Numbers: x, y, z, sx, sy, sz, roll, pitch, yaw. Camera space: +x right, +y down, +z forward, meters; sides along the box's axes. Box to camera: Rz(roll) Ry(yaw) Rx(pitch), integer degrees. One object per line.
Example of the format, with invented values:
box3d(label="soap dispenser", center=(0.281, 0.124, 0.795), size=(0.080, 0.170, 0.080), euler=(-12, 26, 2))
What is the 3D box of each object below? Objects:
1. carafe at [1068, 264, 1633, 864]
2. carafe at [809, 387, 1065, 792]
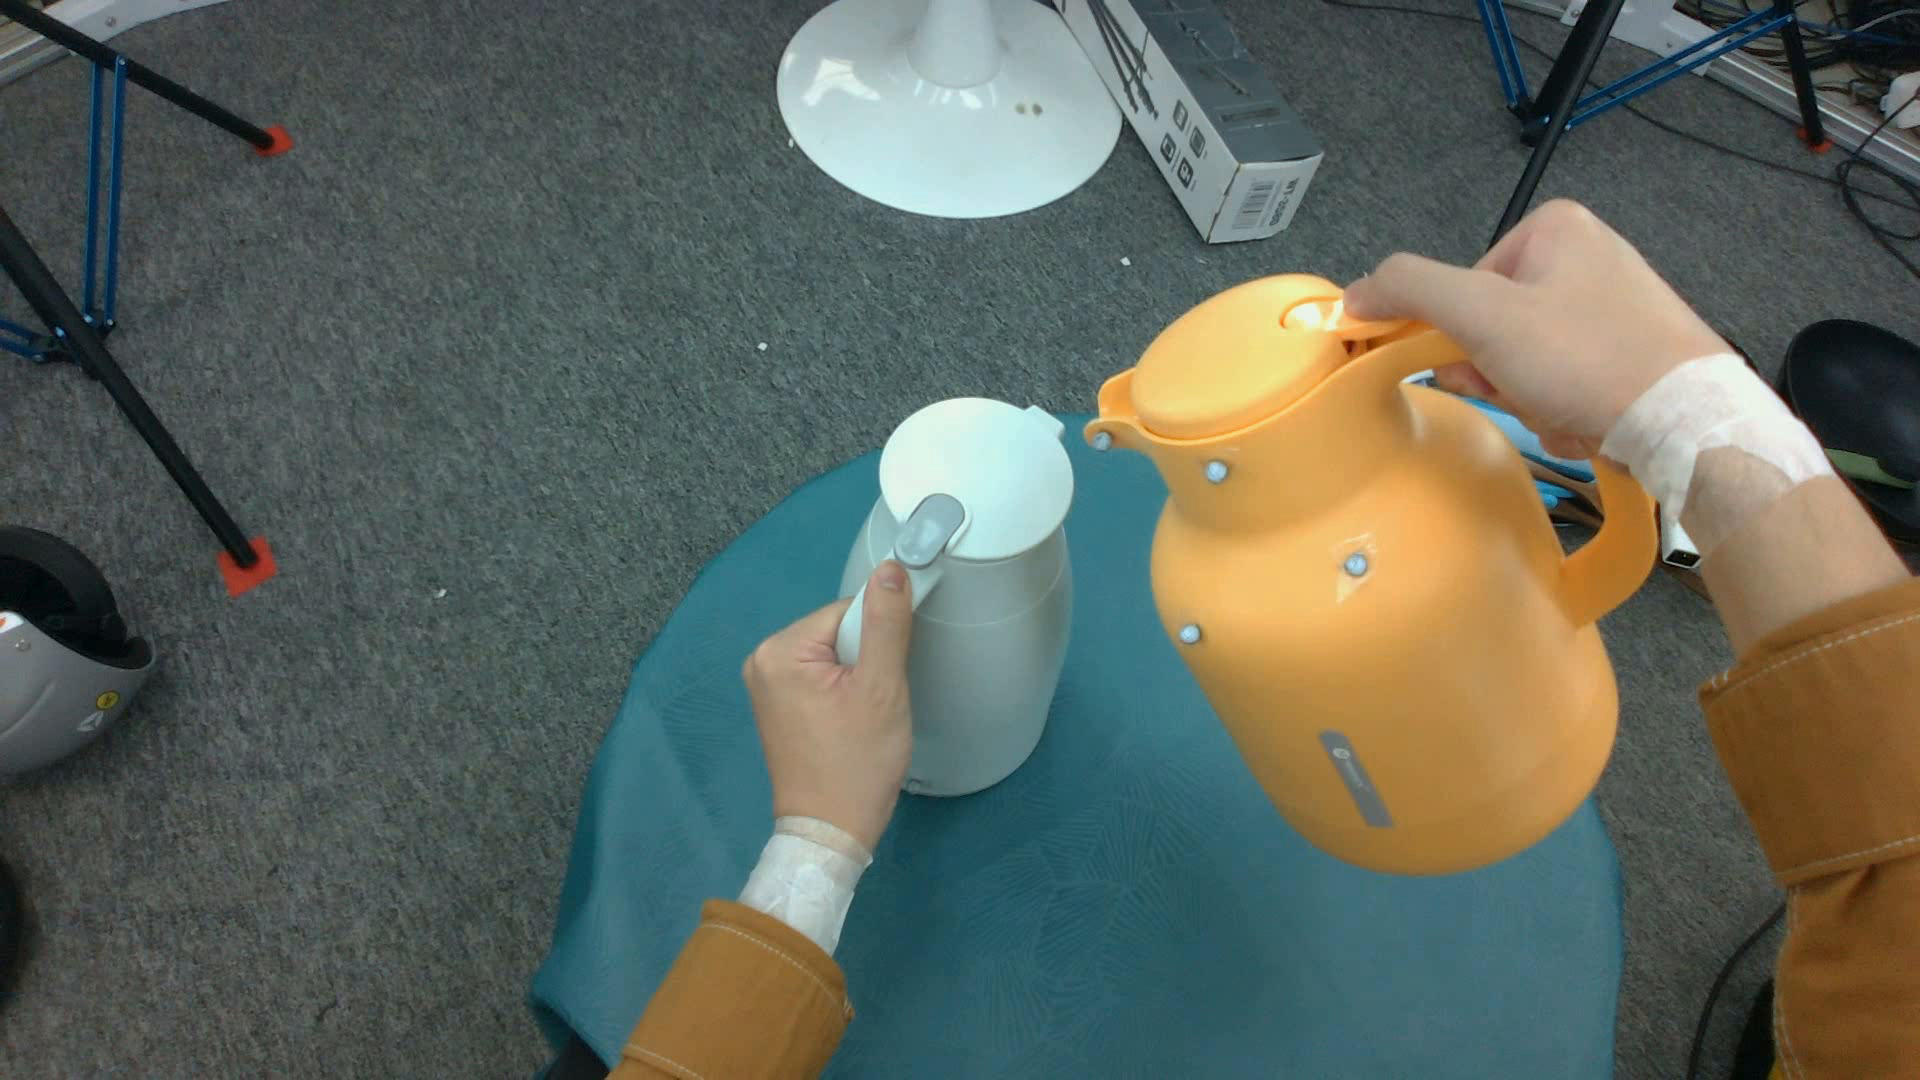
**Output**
box3d(label="carafe", center=(0.175, 0.006, 0.576), size=(0.201, 0.260, 0.164), euler=(-12, 38, 35))
box3d(label="carafe", center=(-0.017, 0.040, 0.726), size=(0.132, 0.247, 0.168), euler=(34, 61, 14))
